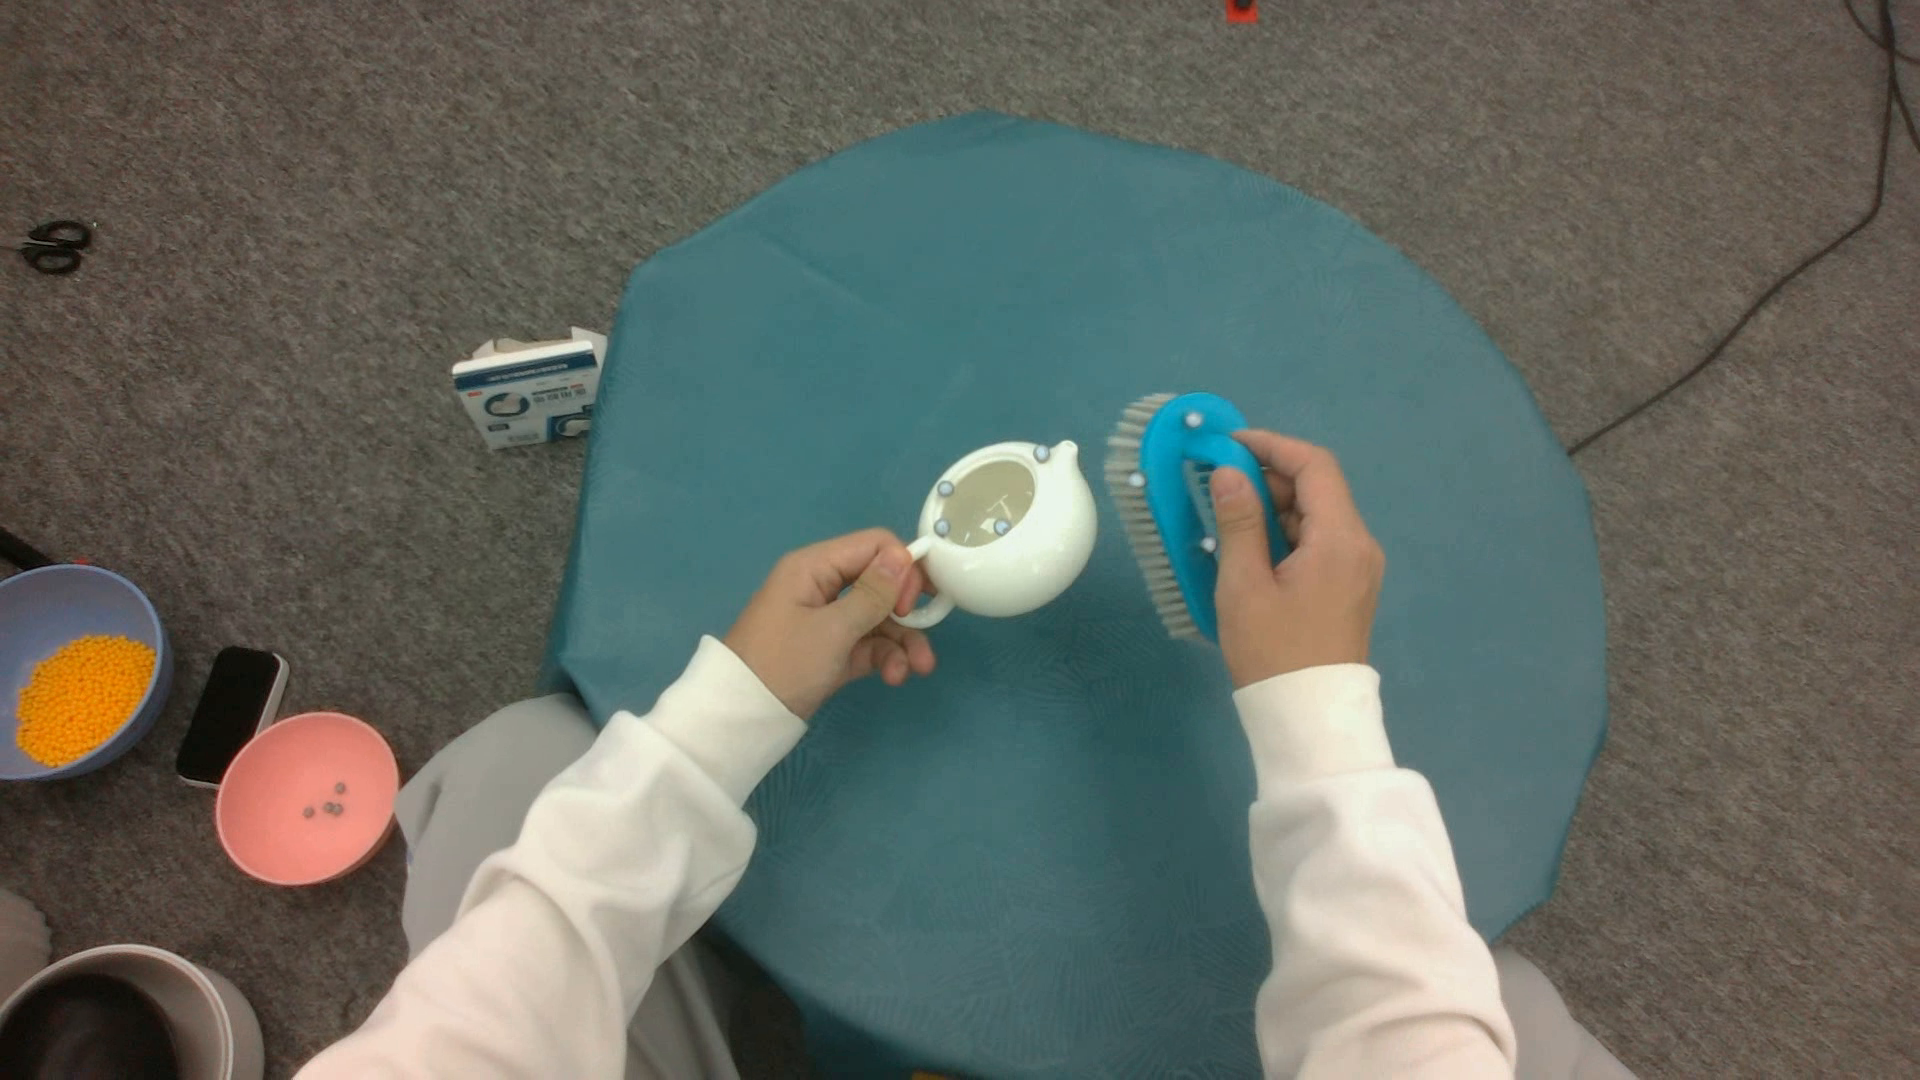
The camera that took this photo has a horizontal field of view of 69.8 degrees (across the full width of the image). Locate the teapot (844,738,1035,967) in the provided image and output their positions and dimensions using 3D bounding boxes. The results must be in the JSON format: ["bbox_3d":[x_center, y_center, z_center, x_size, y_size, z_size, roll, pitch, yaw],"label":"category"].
[{"bbox_3d":[-0.012,0.162,0.701,0.127,0.056,0.093,-54,39,-9],"label":"teapot"}]

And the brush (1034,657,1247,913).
[{"bbox_3d":[0.104,0.121,0.711,0.085,0.063,0.142,-35,92,-40],"label":"brush"}]
